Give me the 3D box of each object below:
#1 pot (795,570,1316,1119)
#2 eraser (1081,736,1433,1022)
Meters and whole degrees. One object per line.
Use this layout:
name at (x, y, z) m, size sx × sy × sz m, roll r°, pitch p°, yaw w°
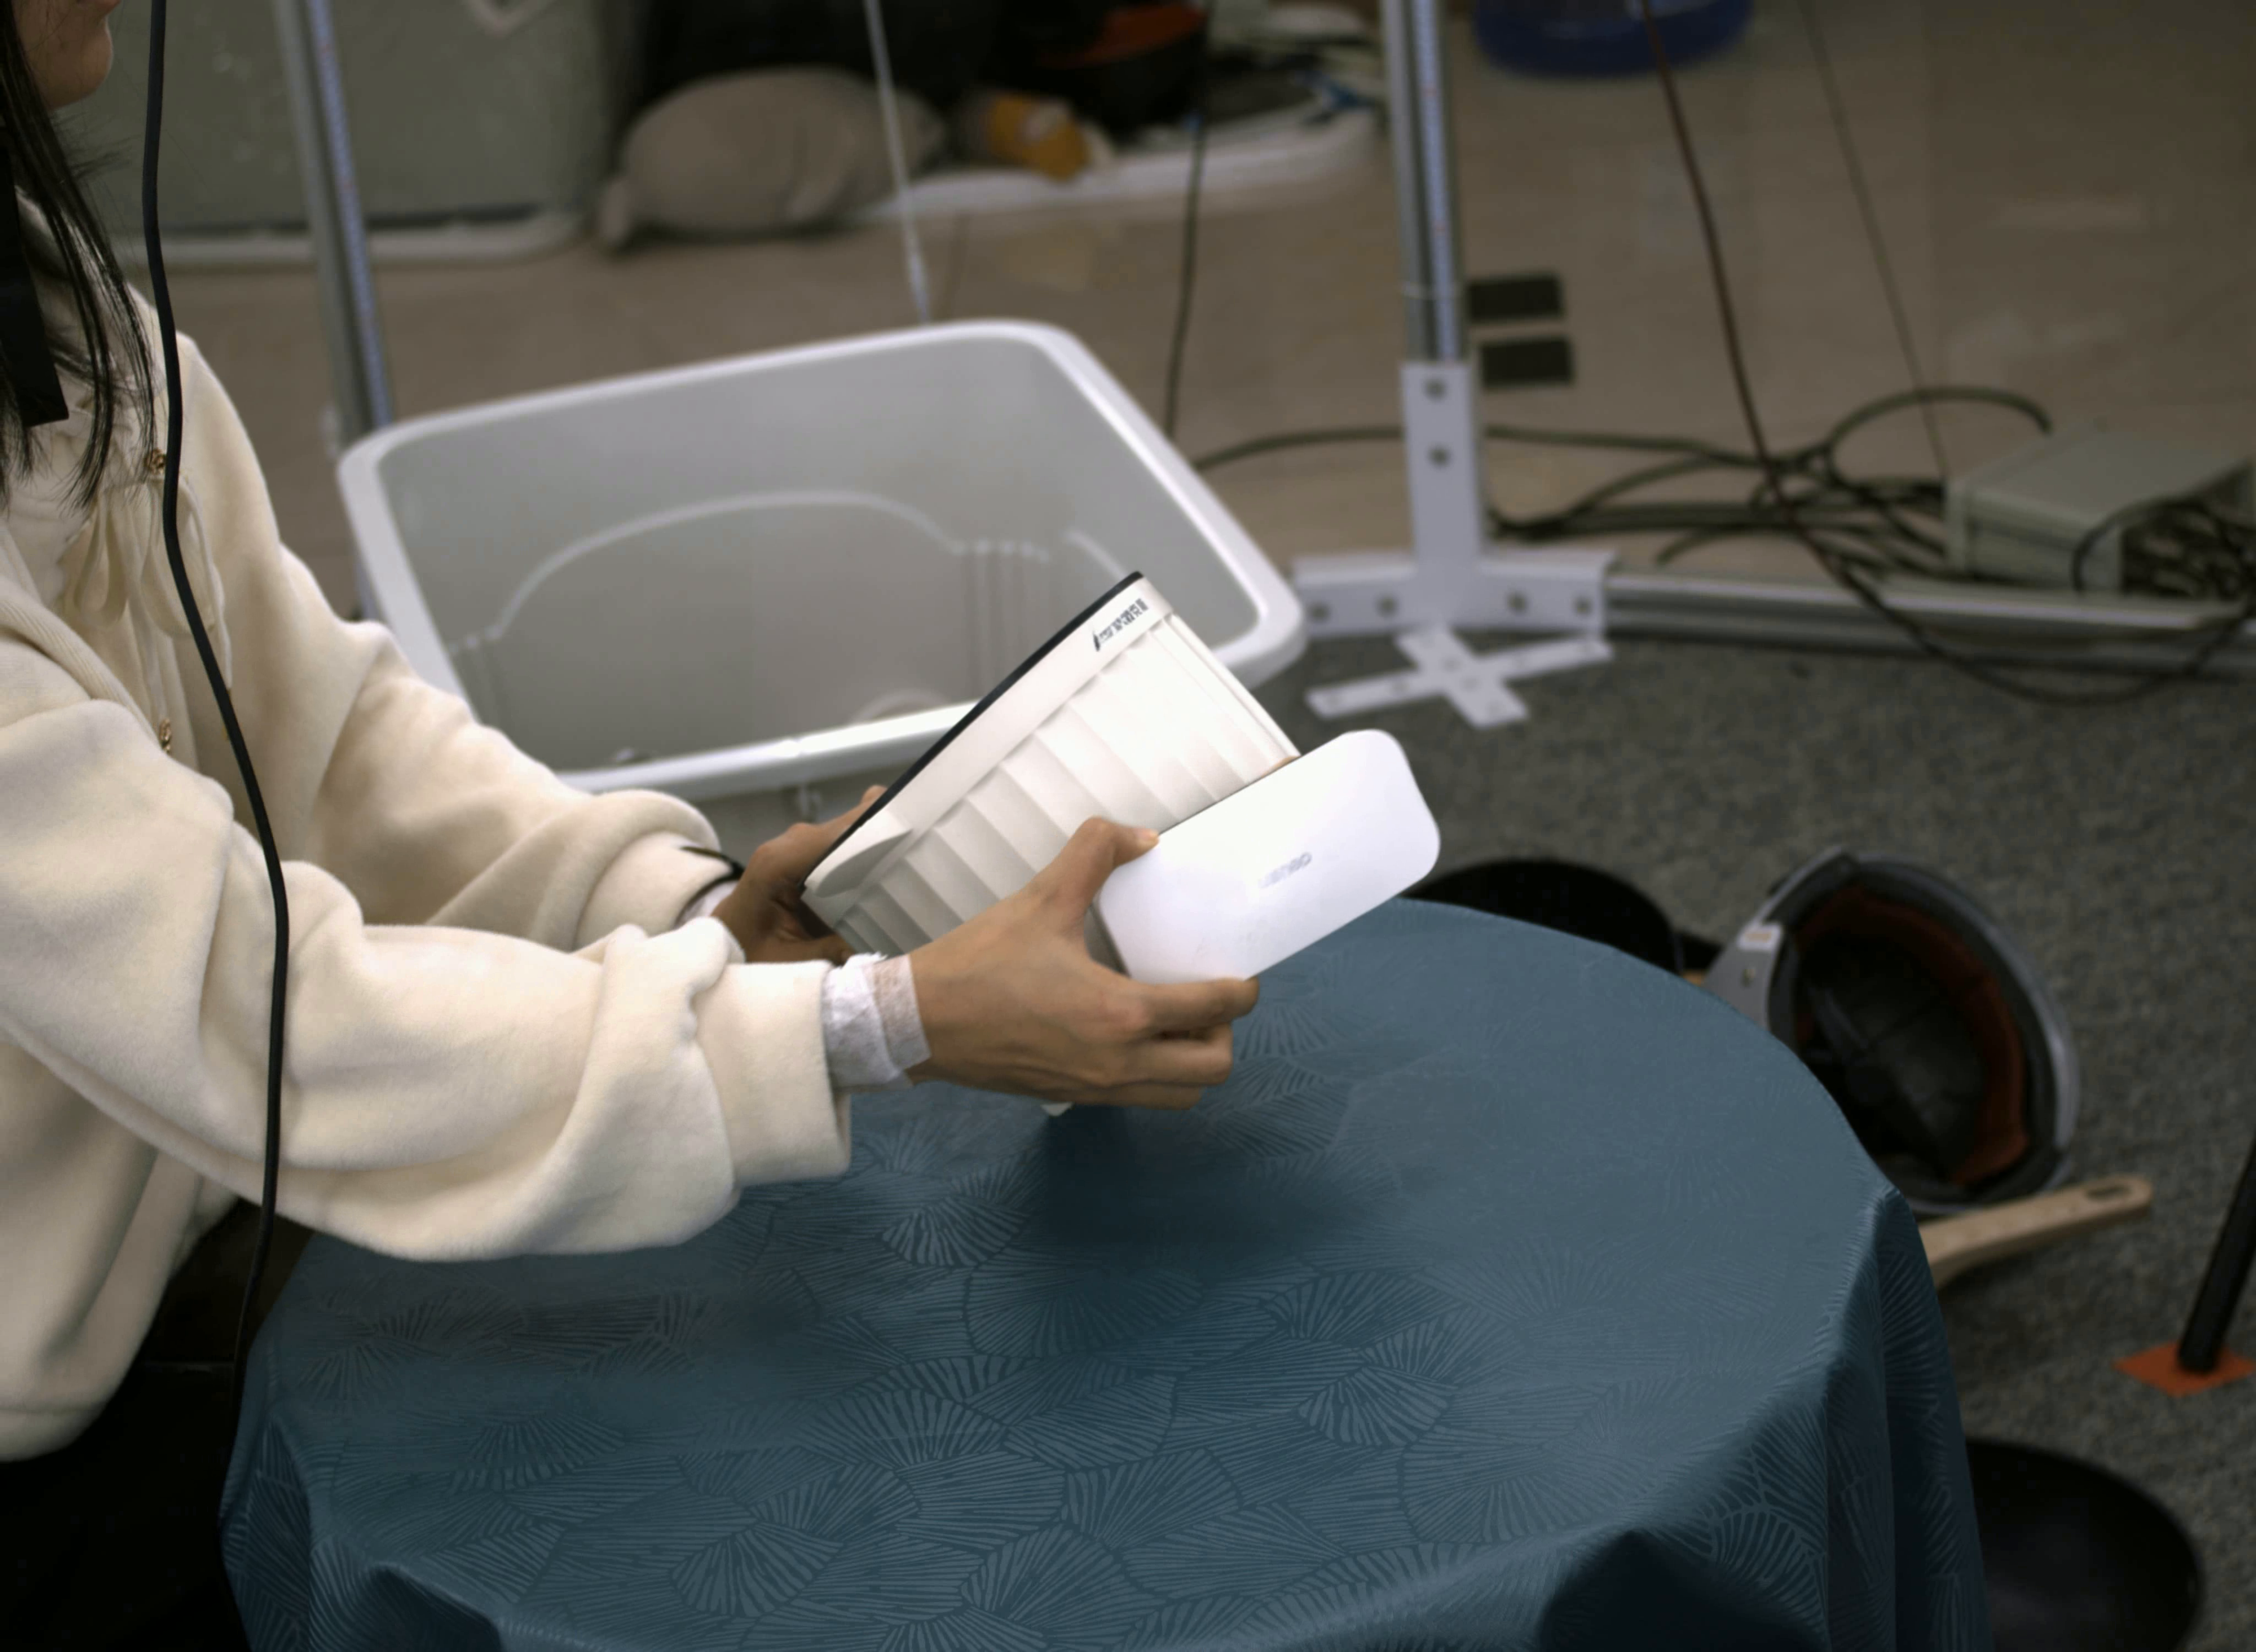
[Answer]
pot at (-0.013, 0.009, 2.166) m, size 0.142 × 0.193 × 0.237 m, roll 44°, pitch 38°, yaw 2°
eraser at (0.046, 0.018, 2.075) m, size 0.130 × 0.064 × 0.034 m, roll -29°, pitch 12°, yaw -15°
